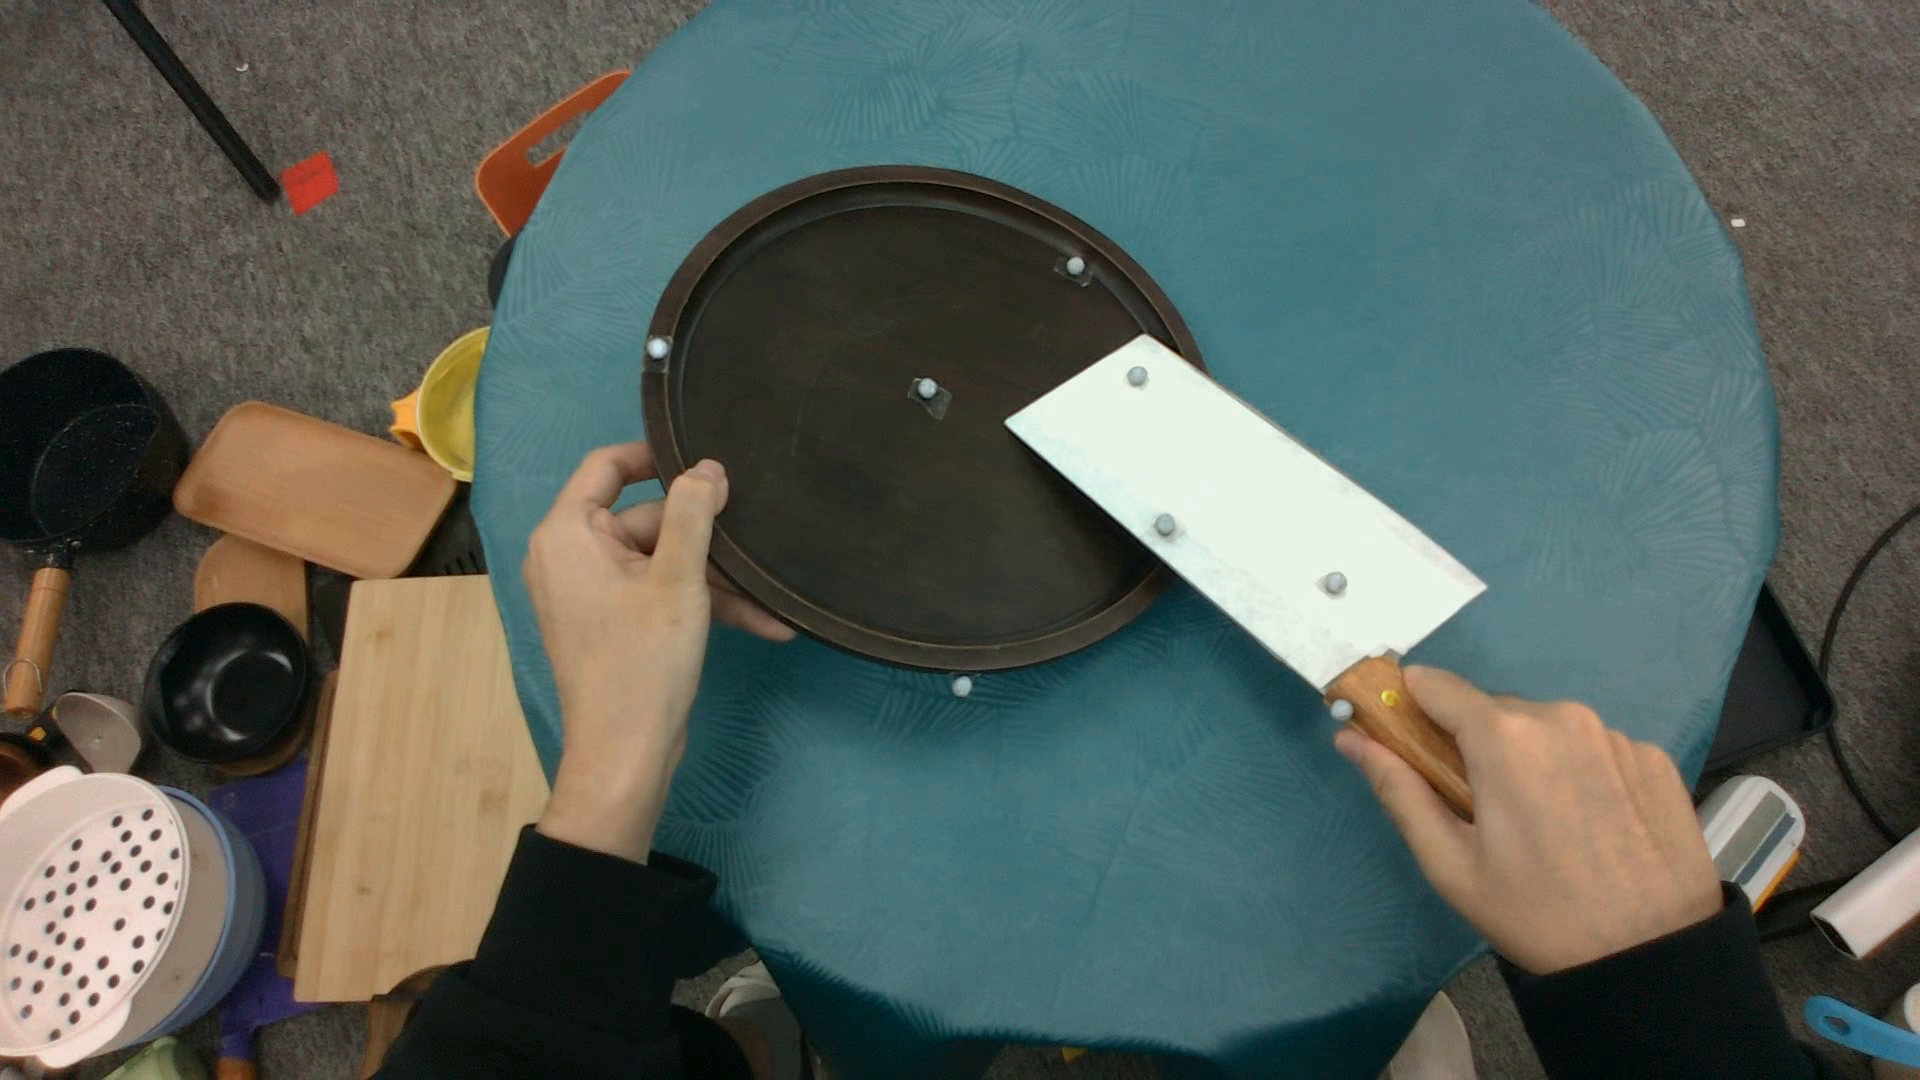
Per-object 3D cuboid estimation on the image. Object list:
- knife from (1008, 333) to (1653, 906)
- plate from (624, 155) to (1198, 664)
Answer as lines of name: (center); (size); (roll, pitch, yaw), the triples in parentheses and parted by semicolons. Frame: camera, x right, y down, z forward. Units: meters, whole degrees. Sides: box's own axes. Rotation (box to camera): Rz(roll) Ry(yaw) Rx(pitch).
knife: (0.148, 0.010, 0.546); (0.093, 0.021, 0.306); (-35, 60, -22)
plate: (-0.015, -0.063, 0.595); (0.255, 0.029, 0.256); (5, 62, -10)
